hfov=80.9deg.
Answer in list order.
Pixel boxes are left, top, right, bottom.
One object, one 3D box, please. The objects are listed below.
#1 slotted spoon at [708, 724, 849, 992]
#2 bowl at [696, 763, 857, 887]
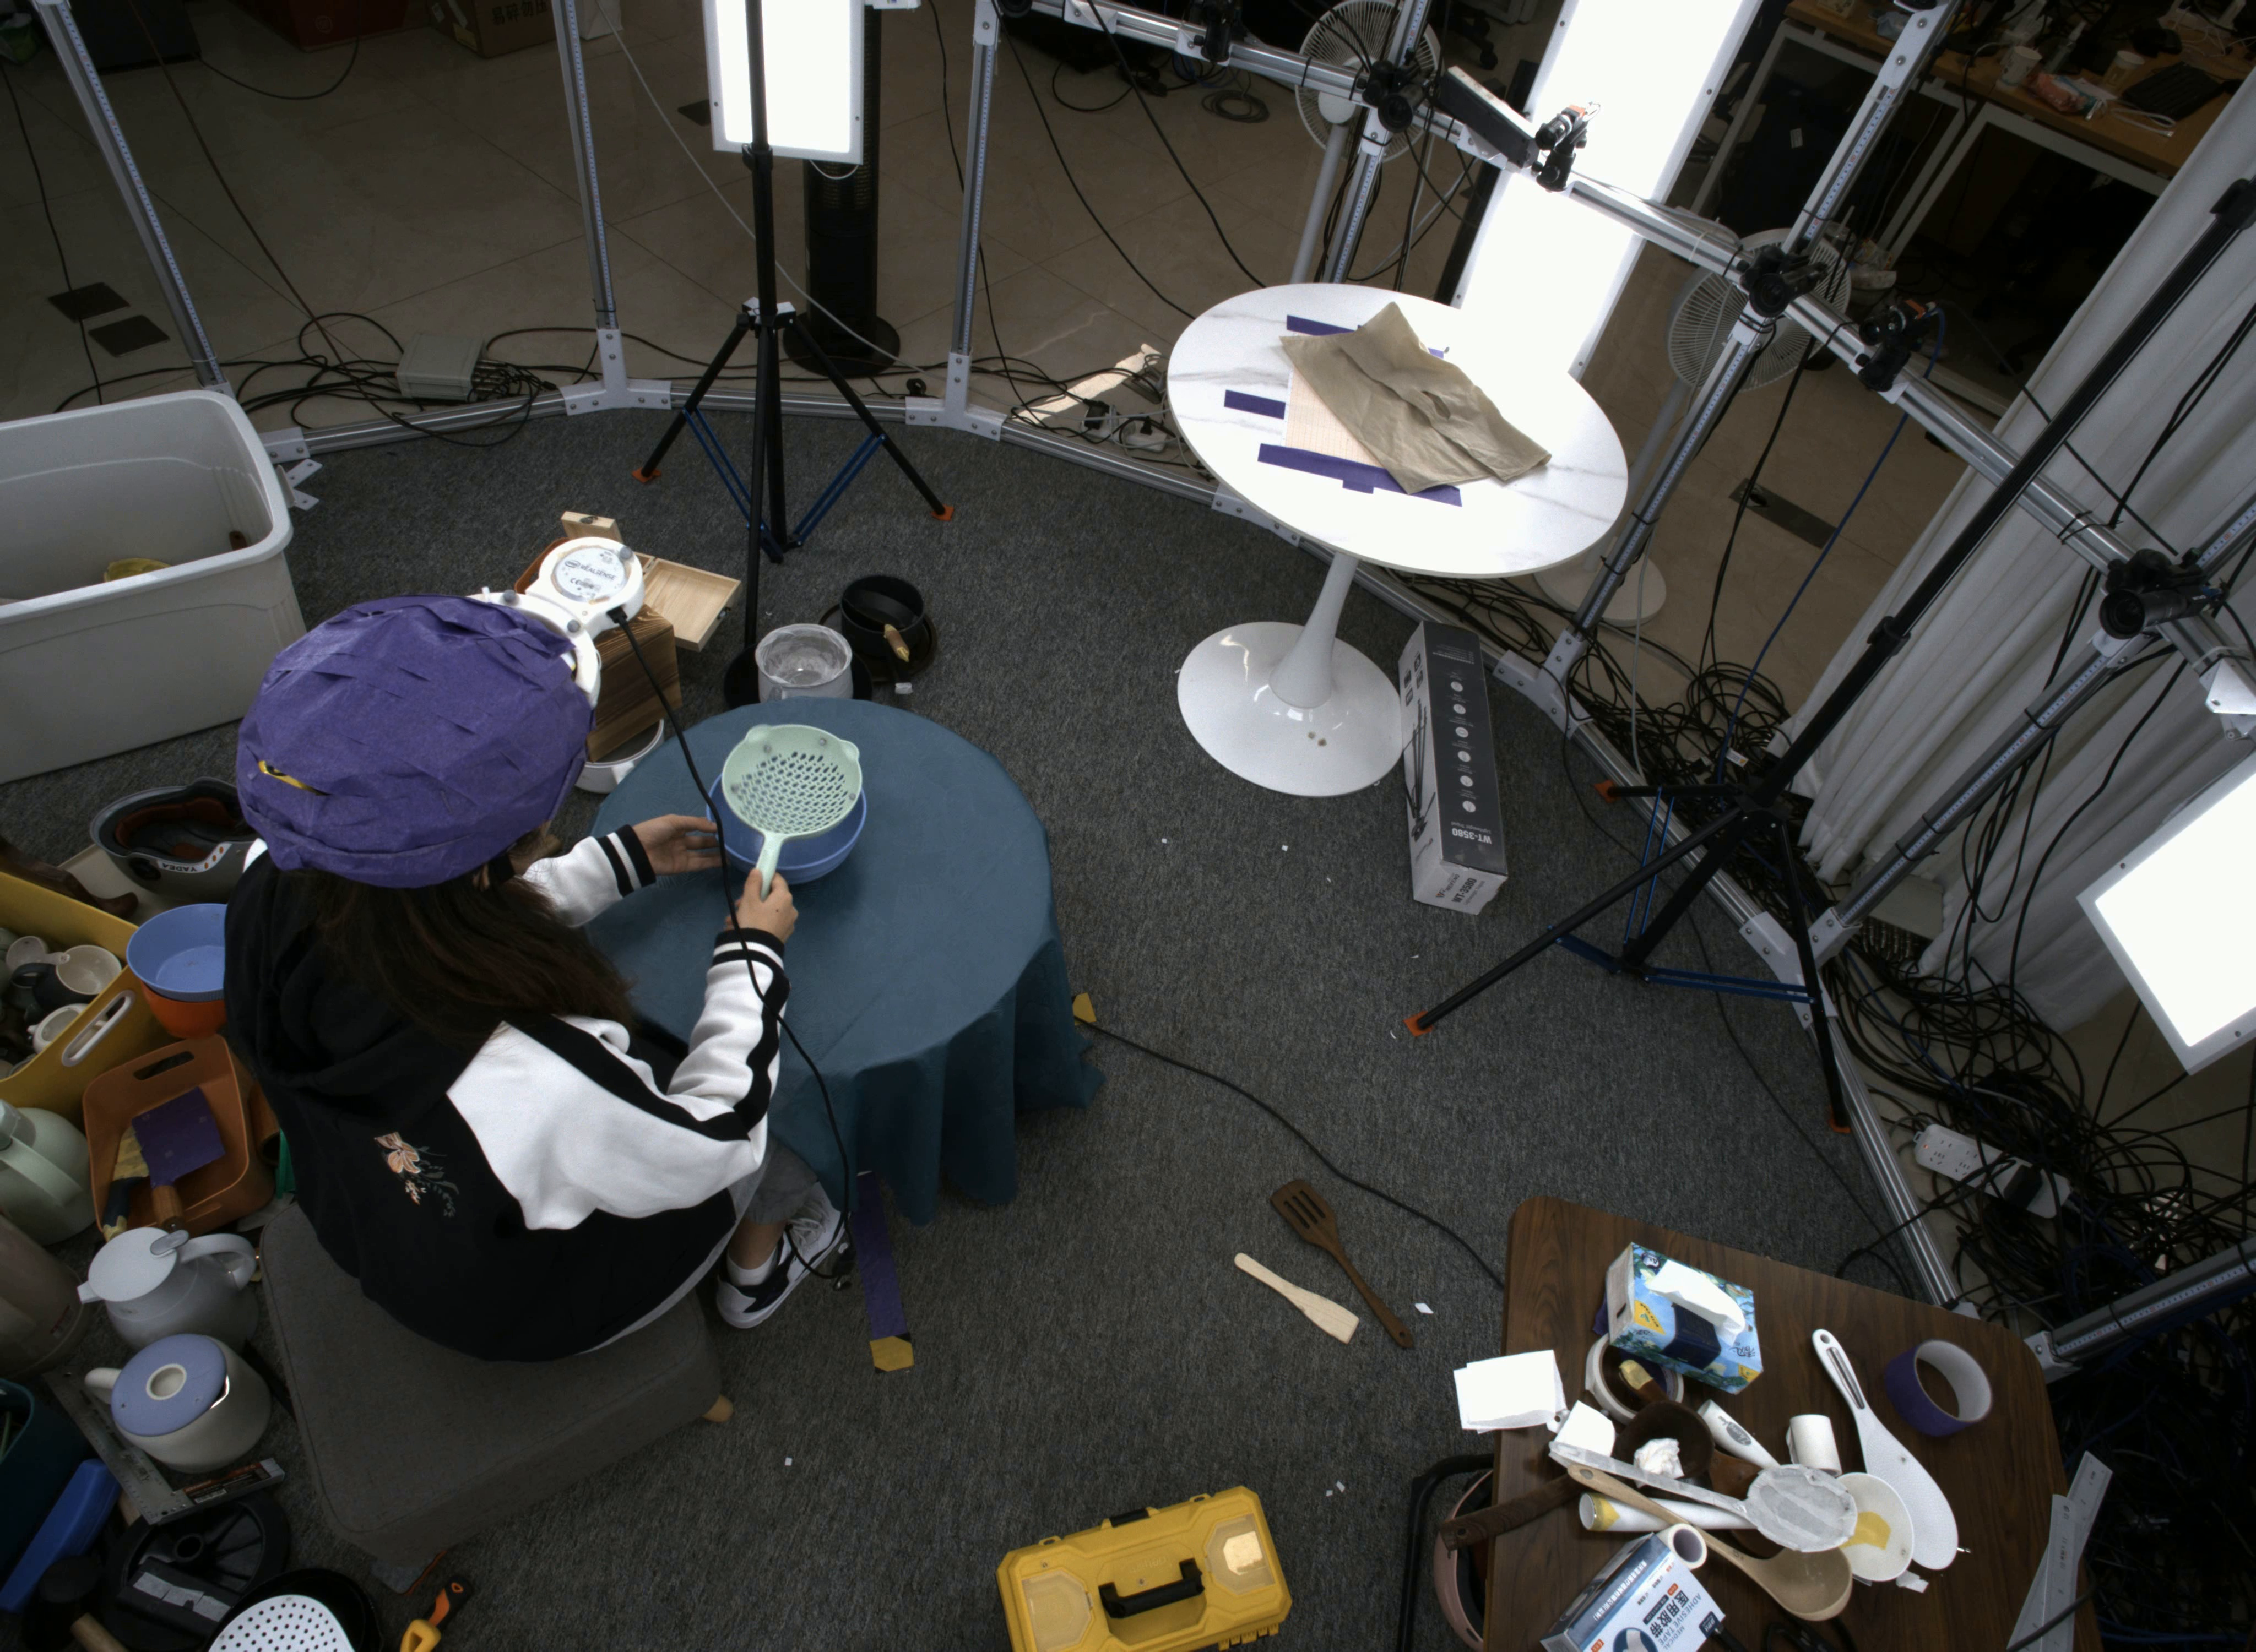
[{"bbox_3d":[-0.433,0.028,1.534,0.168,0.077,0.352,7,47,-3],"label":"slotted spoon"},{"bbox_3d":[-0.445,0.002,1.651,0.196,0.097,0.193,8,52,-9],"label":"bowl"}]
